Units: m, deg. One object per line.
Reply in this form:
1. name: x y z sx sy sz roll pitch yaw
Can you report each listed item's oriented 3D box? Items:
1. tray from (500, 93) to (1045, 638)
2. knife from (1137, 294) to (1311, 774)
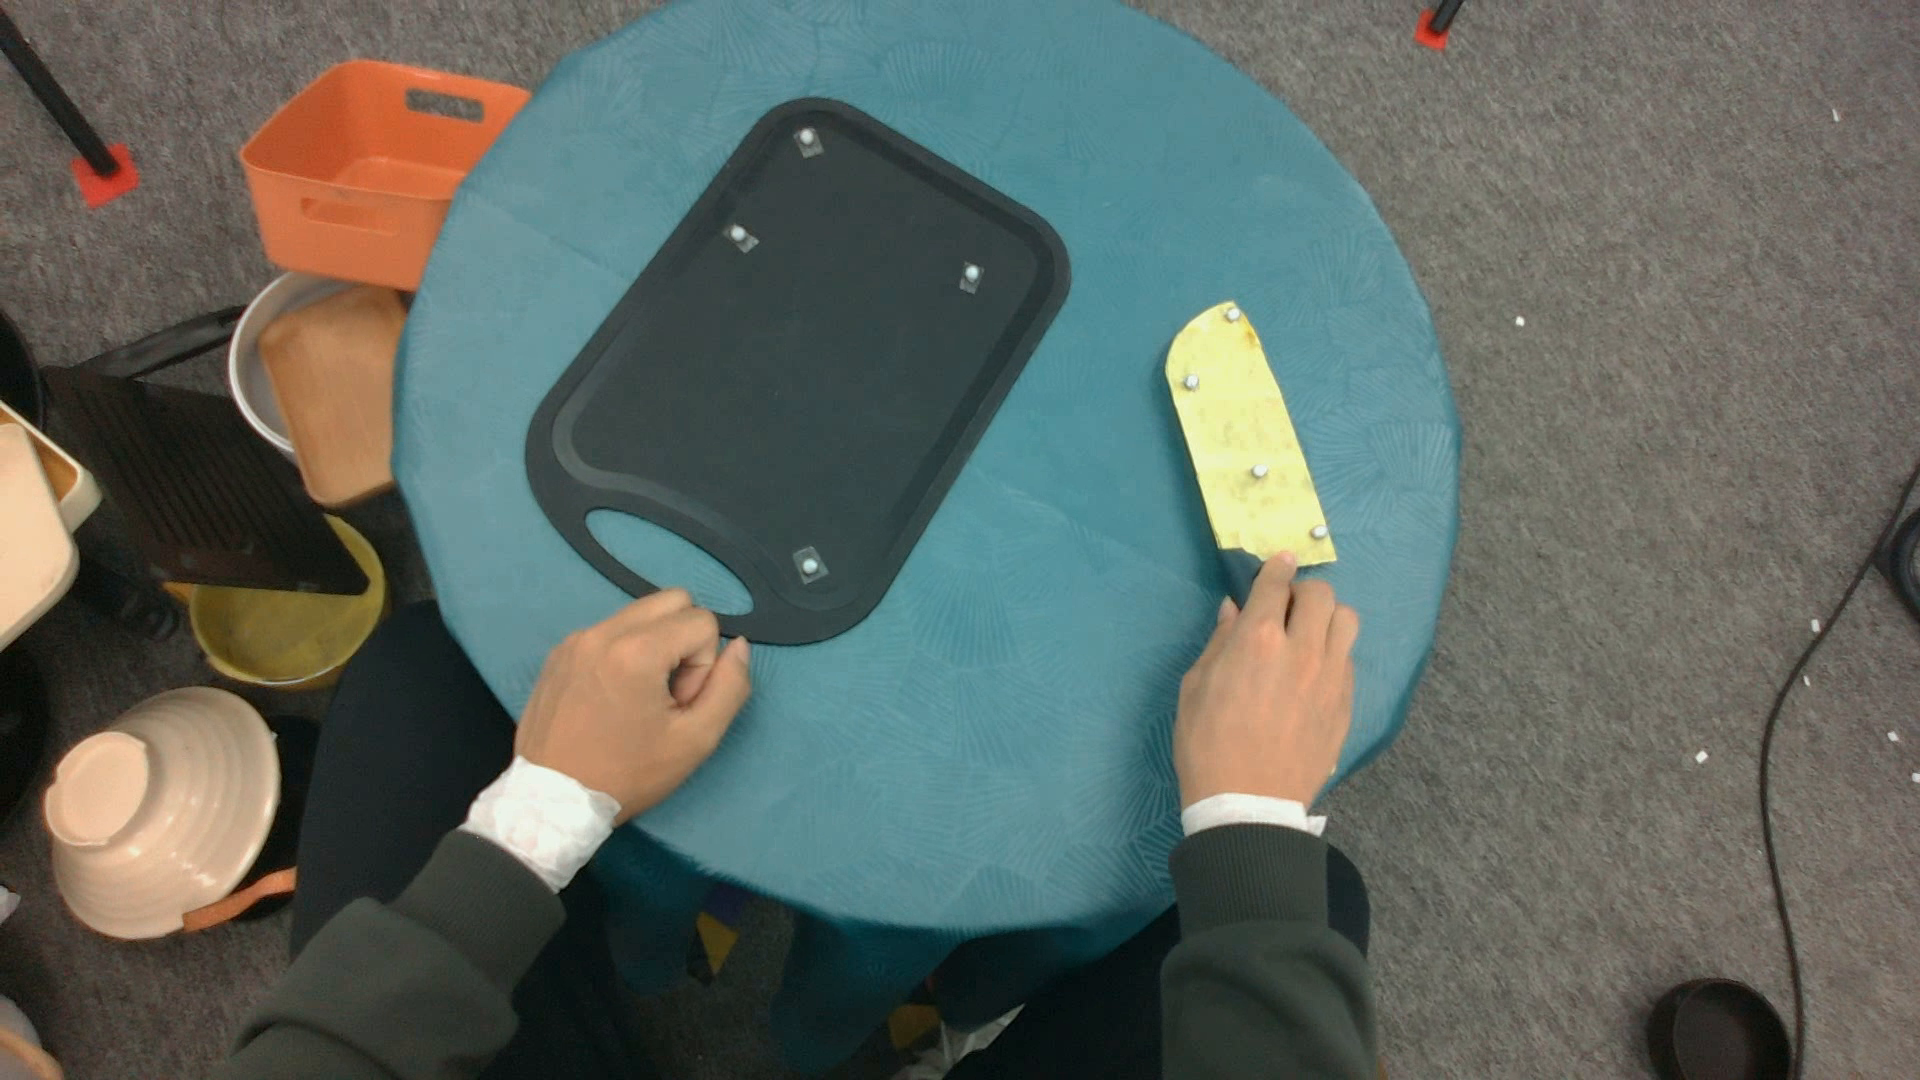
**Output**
1. tray: -0.099 -0.103 0.766 0.211 0.010 0.326 30 68 1
2. knife: 0.157 -0.013 0.774 0.081 0.027 0.290 -4 70 -16
